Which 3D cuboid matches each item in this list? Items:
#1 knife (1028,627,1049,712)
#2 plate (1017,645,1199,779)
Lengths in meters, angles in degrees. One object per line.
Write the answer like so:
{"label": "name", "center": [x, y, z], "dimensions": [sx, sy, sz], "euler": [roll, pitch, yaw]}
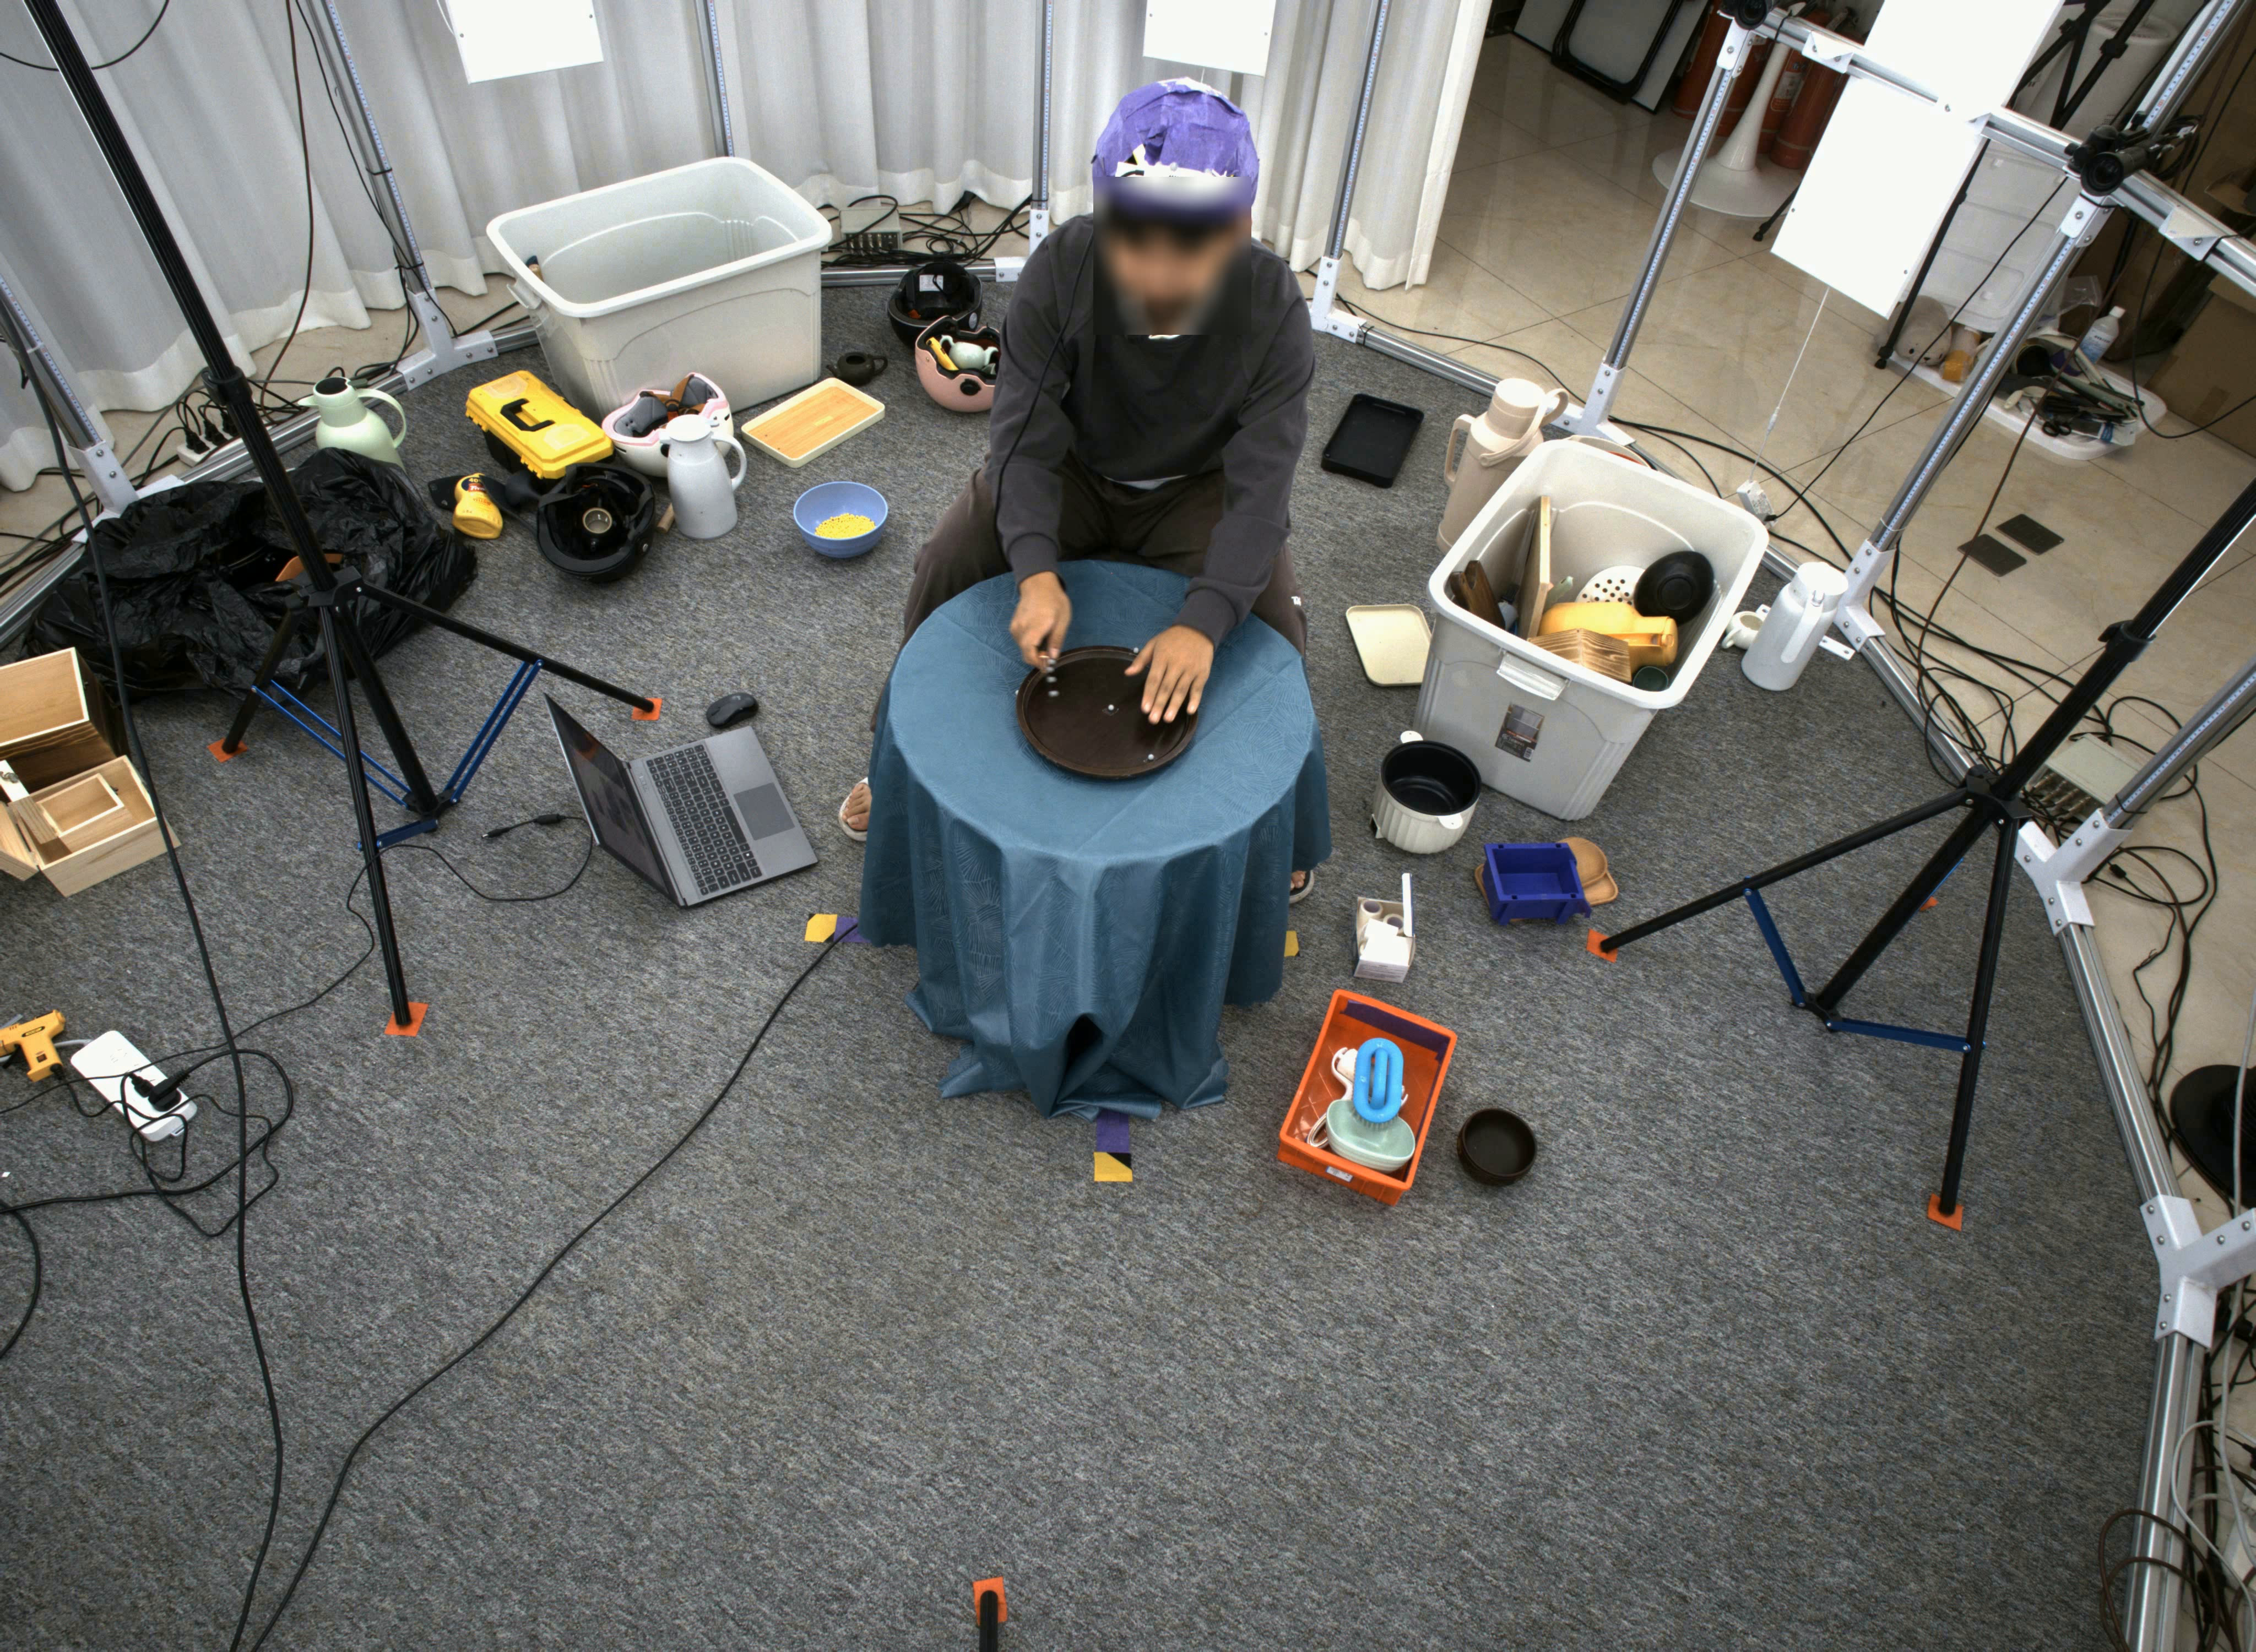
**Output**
{"label": "knife", "center": [-0.119, -0.215, 1.736], "dimensions": [0.017, 0.025, 0.231], "euler": [-3, 33, -8]}
{"label": "plate", "center": [-0.028, -0.160, 1.787], "dimensions": [0.254, 0.028, 0.261], "euler": [2, 48, -2]}
